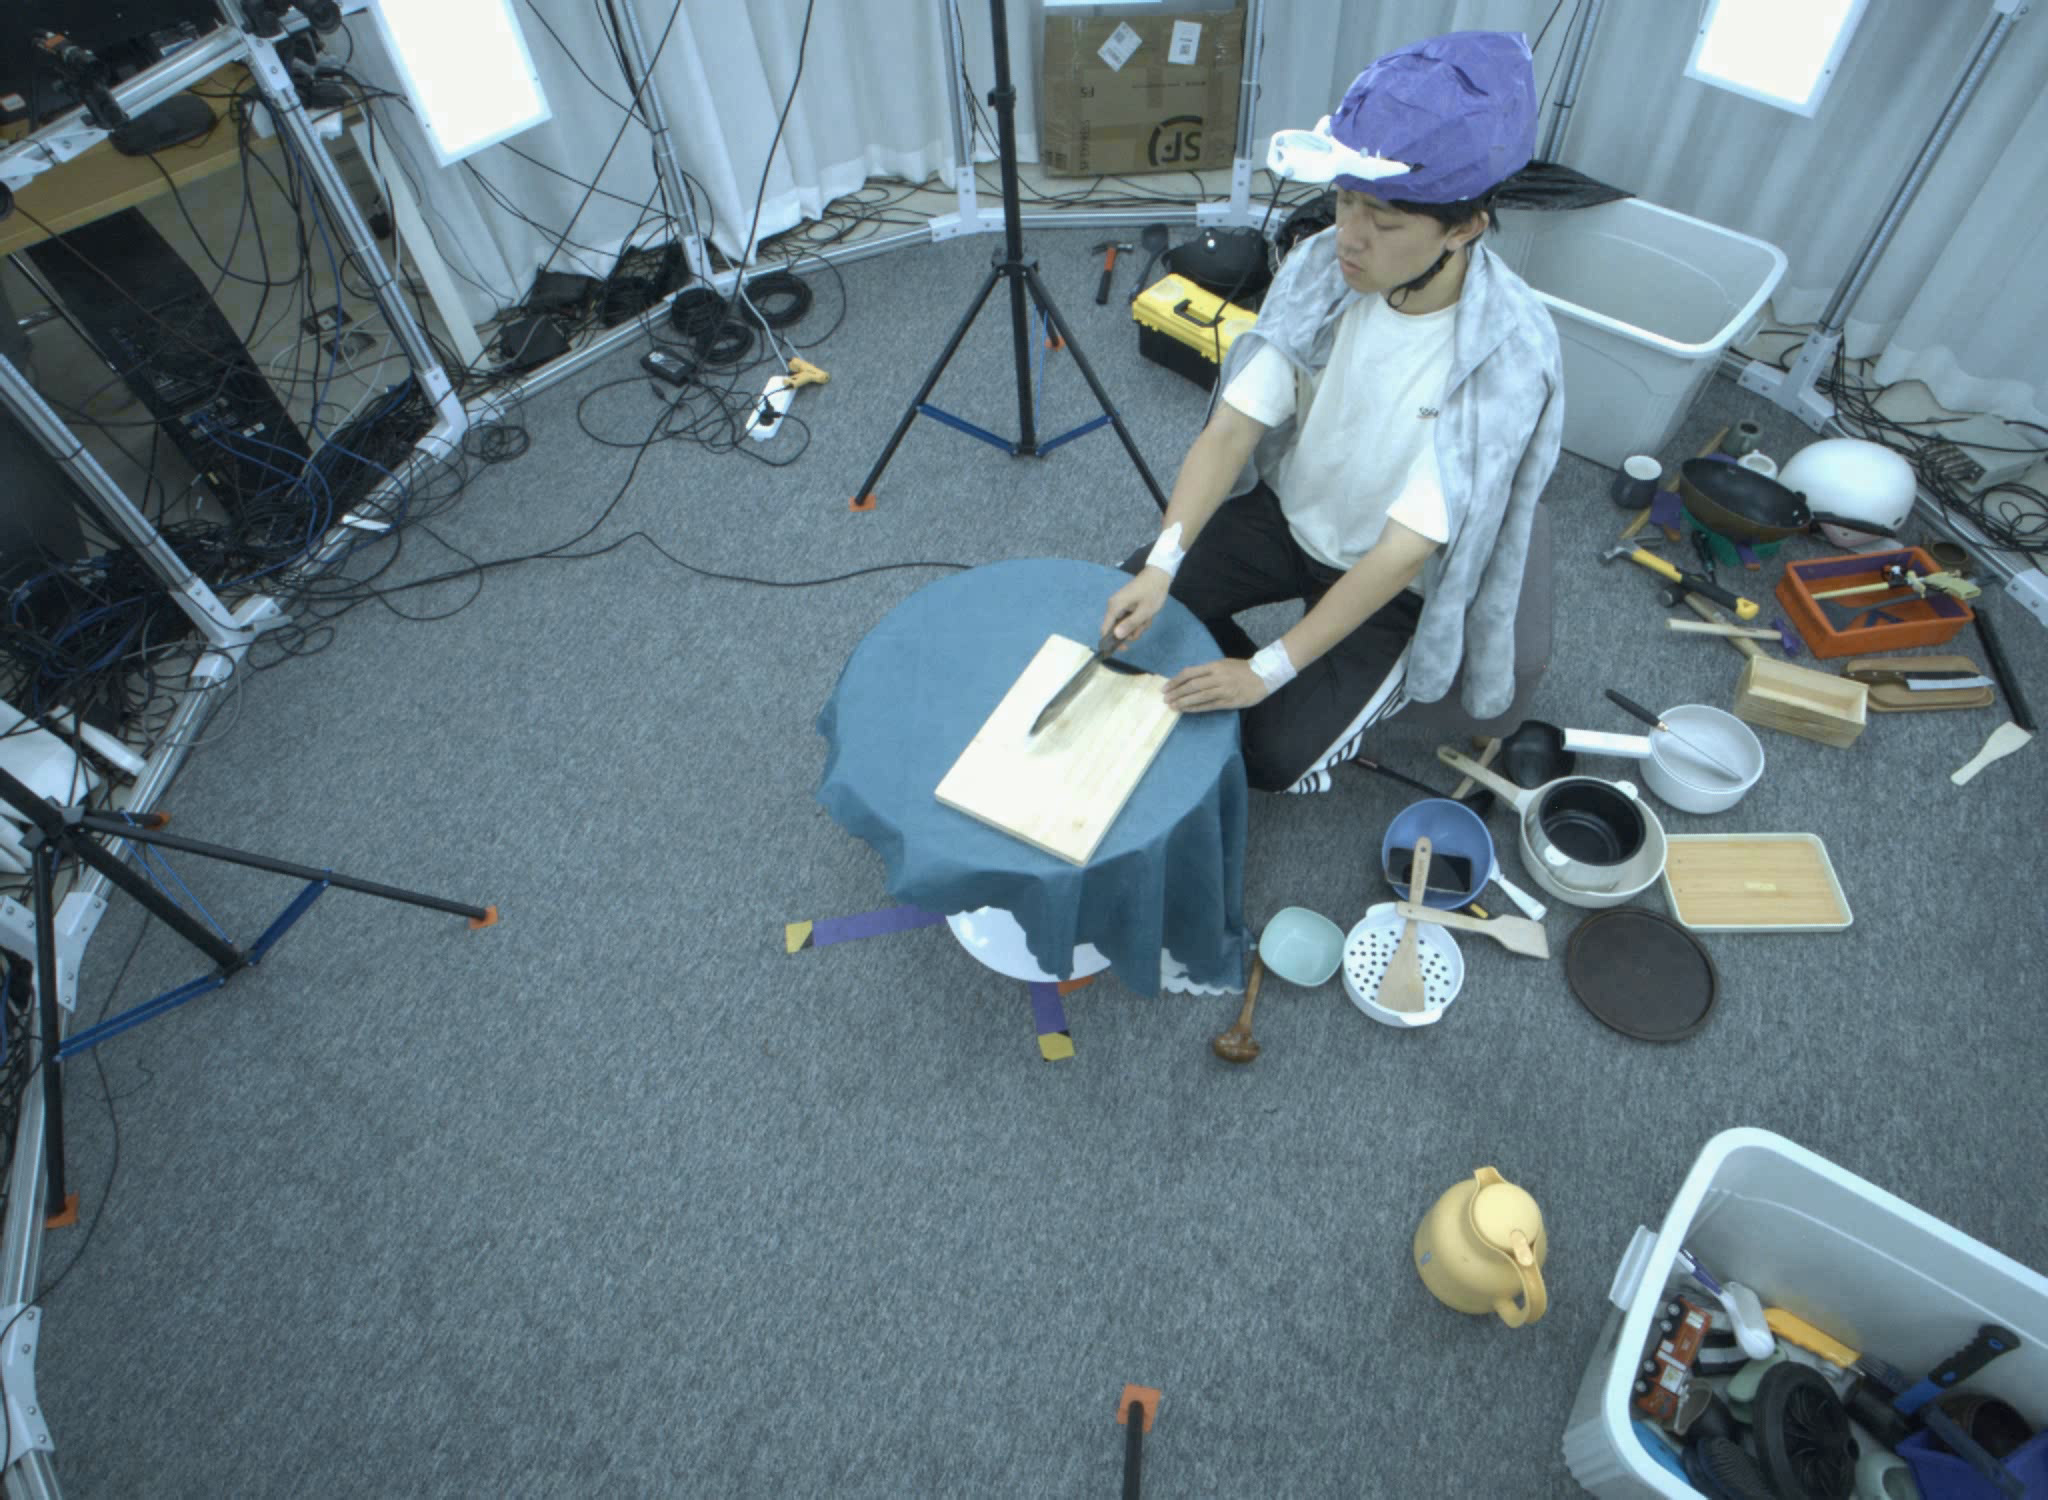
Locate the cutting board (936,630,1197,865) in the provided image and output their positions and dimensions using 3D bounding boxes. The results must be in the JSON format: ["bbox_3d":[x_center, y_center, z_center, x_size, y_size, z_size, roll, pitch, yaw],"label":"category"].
[{"bbox_3d":[0.065,-0.014,1.788,0.247,0.024,0.349,24,59,17],"label":"cutting board"}]

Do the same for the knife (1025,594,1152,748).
[{"bbox_3d":[0.094,-0.117,1.800,0.023,0.068,0.301,34,66,18],"label":"knife"}]
